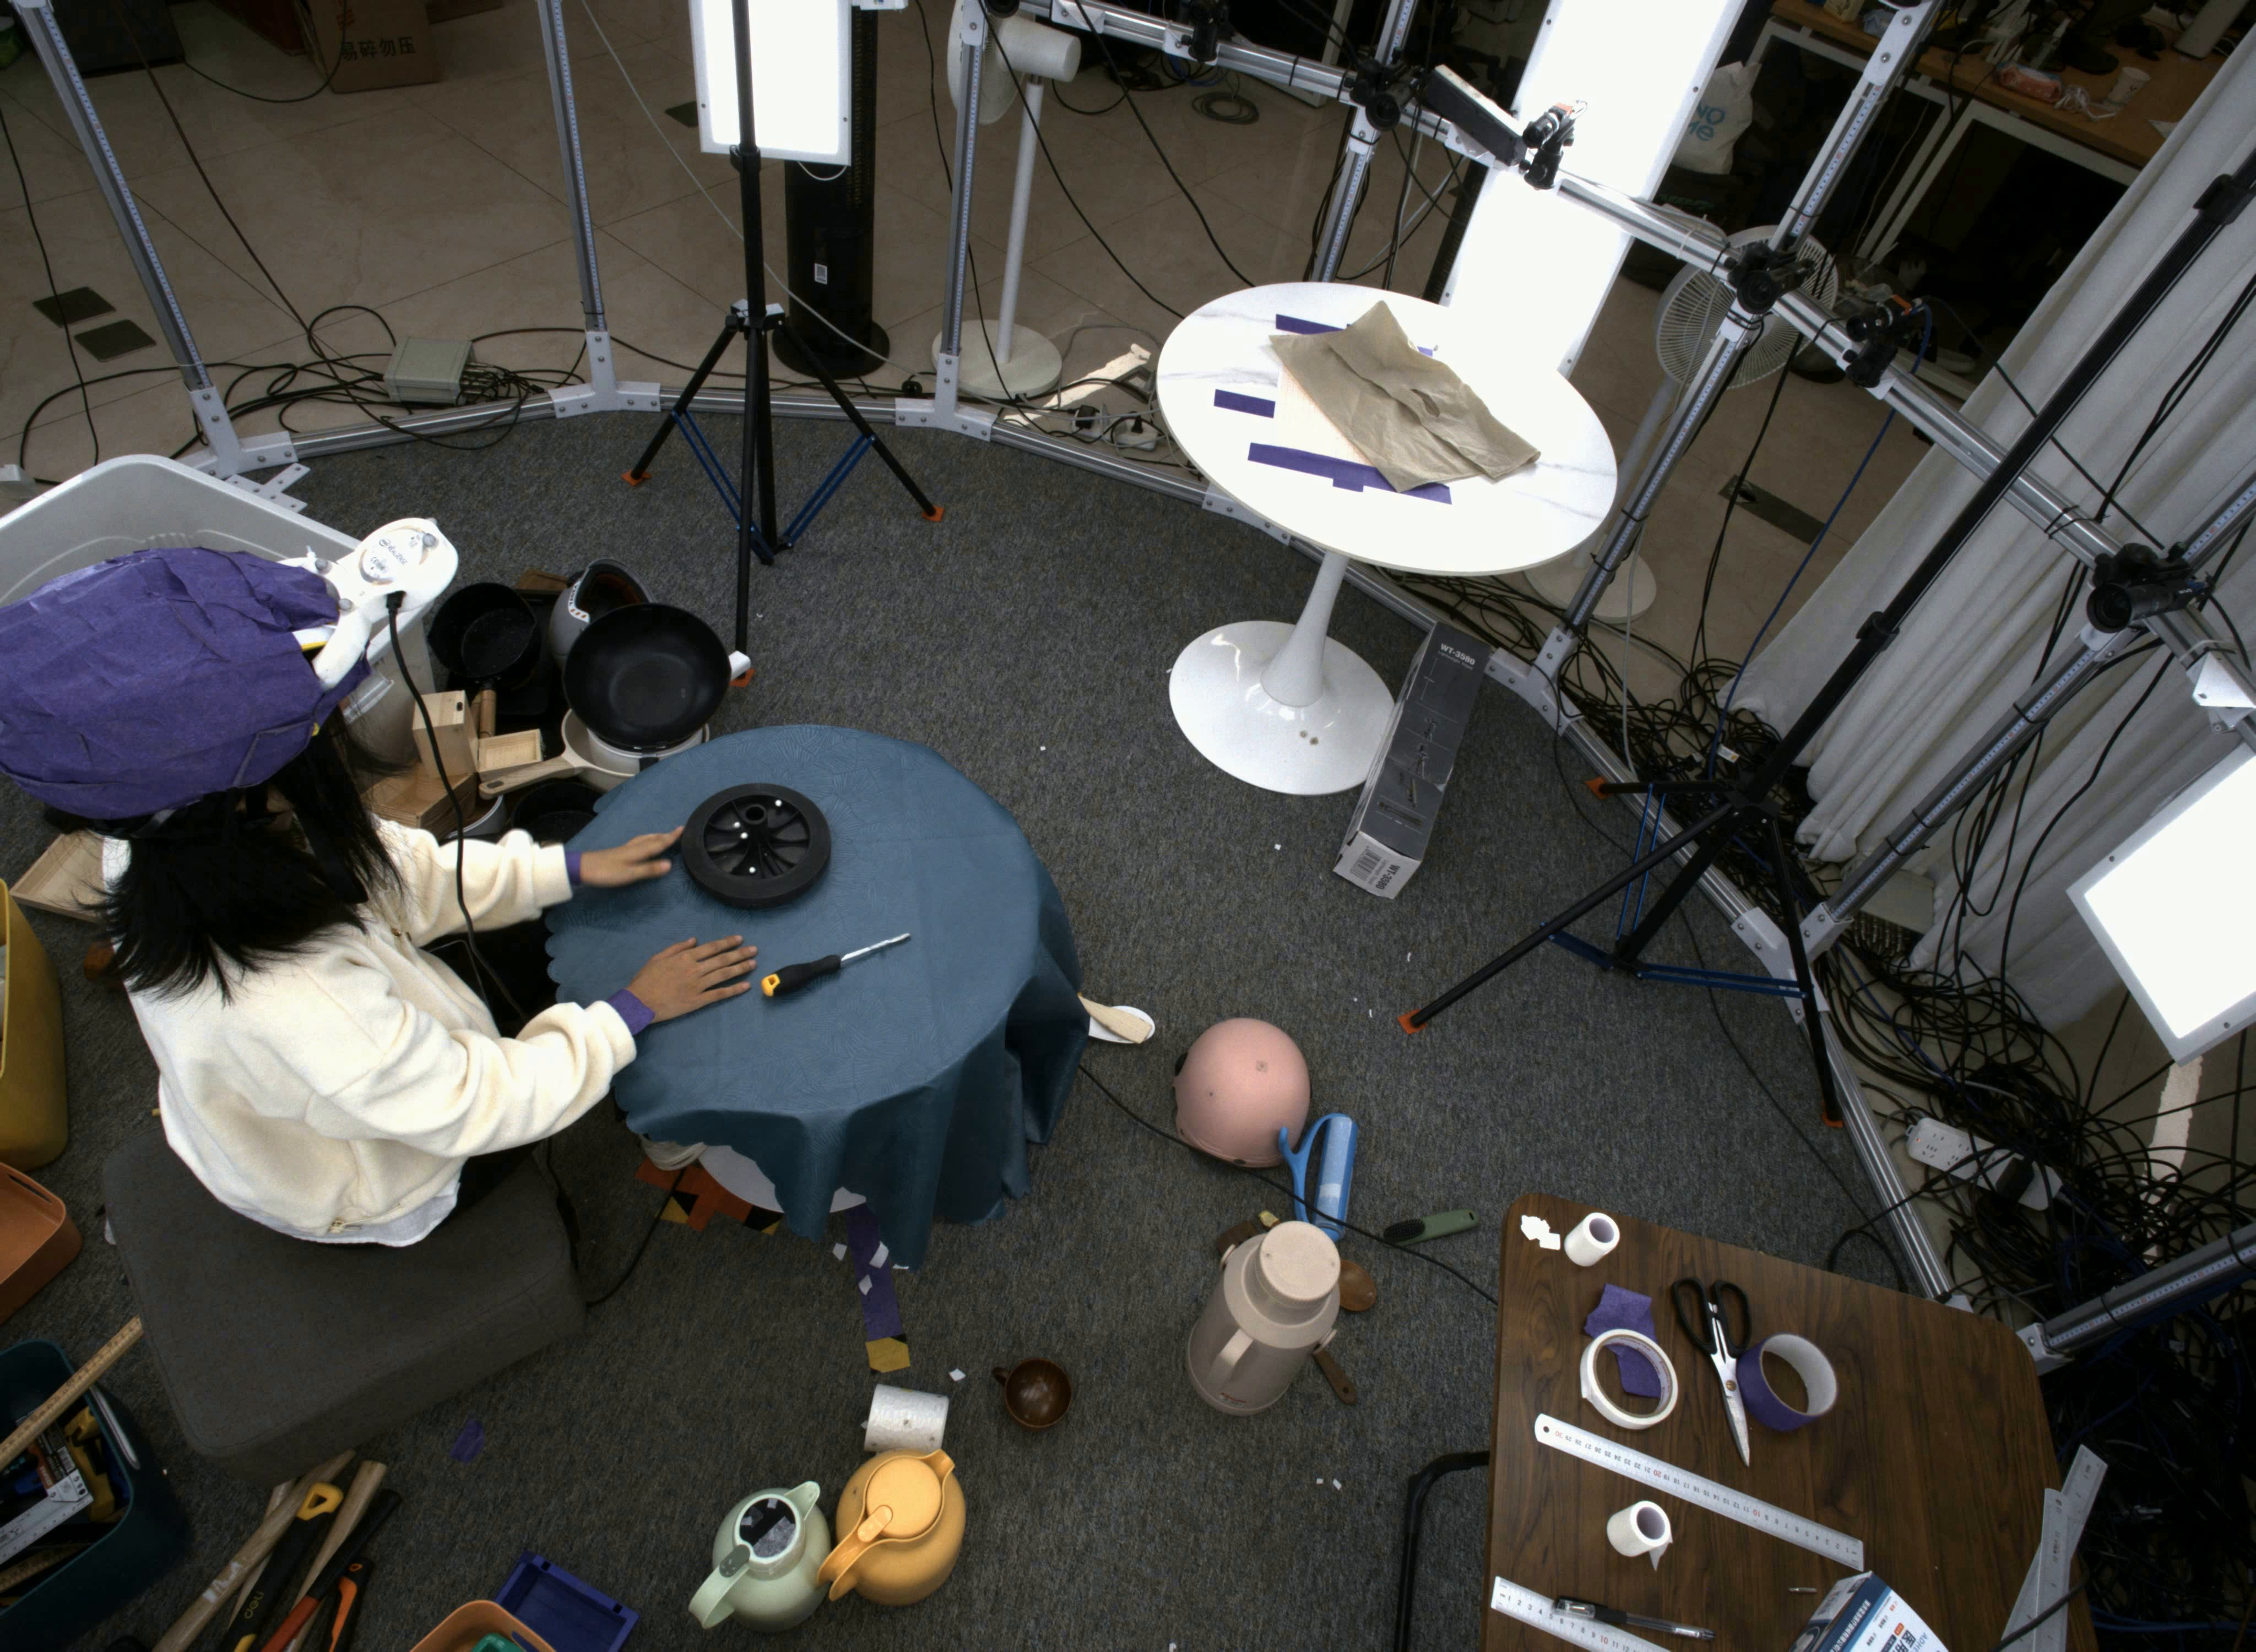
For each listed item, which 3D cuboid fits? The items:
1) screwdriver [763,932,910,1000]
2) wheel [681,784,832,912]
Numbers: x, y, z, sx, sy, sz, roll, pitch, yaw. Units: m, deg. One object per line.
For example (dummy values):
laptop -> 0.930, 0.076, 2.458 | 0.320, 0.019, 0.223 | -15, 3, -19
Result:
screwdriver -> -0.354, 0.168, 1.596 | 0.199, 0.032, 0.030 | -19, 59, -29
wheel -> -0.474, 0.012, 1.649 | 0.187, 0.080, 0.186 | 31, 53, 6
